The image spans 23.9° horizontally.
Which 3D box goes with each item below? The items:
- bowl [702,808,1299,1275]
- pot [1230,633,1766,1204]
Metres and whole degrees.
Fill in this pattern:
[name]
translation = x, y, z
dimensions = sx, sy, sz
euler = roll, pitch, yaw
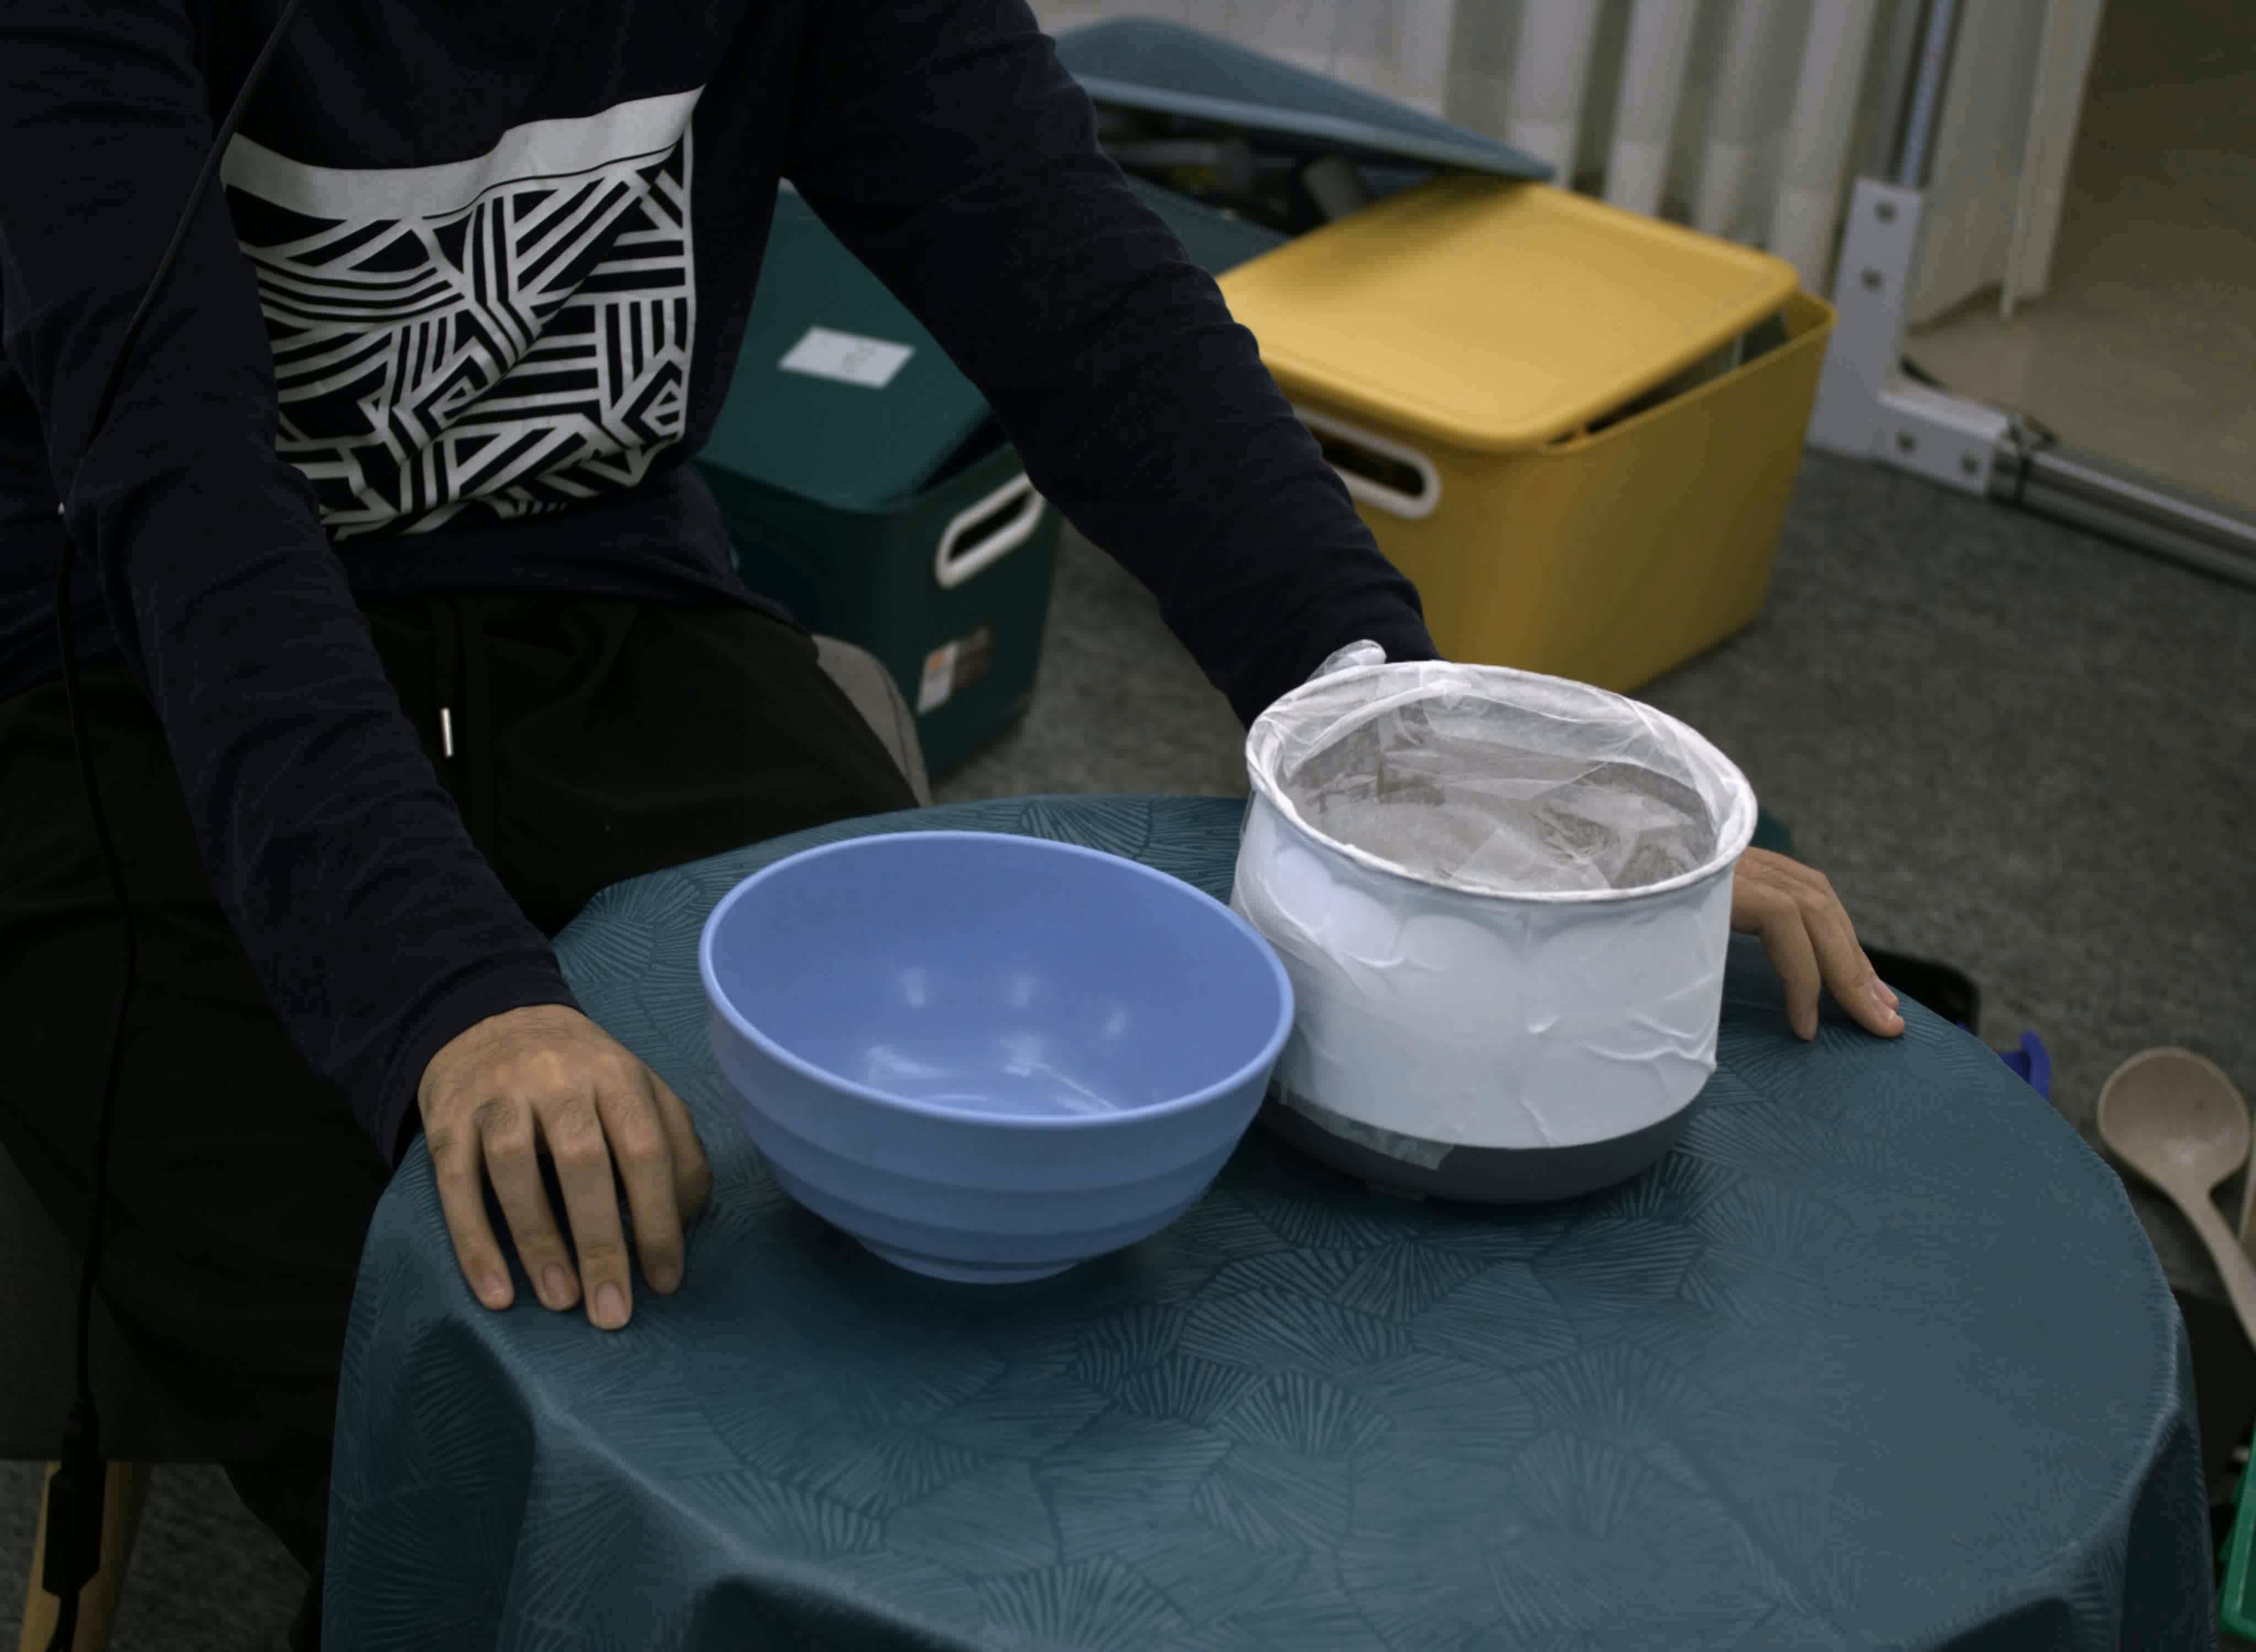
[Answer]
[bowl]
translation = -0.047, 0.084, 1.760
dimensions = 0.196, 0.095, 0.198
euler = 6, 31, -4
[pot]
translation = 0.109, 0.025, 1.871
dimensions = 0.177, 0.136, 0.236
euler = -5, 30, -28
